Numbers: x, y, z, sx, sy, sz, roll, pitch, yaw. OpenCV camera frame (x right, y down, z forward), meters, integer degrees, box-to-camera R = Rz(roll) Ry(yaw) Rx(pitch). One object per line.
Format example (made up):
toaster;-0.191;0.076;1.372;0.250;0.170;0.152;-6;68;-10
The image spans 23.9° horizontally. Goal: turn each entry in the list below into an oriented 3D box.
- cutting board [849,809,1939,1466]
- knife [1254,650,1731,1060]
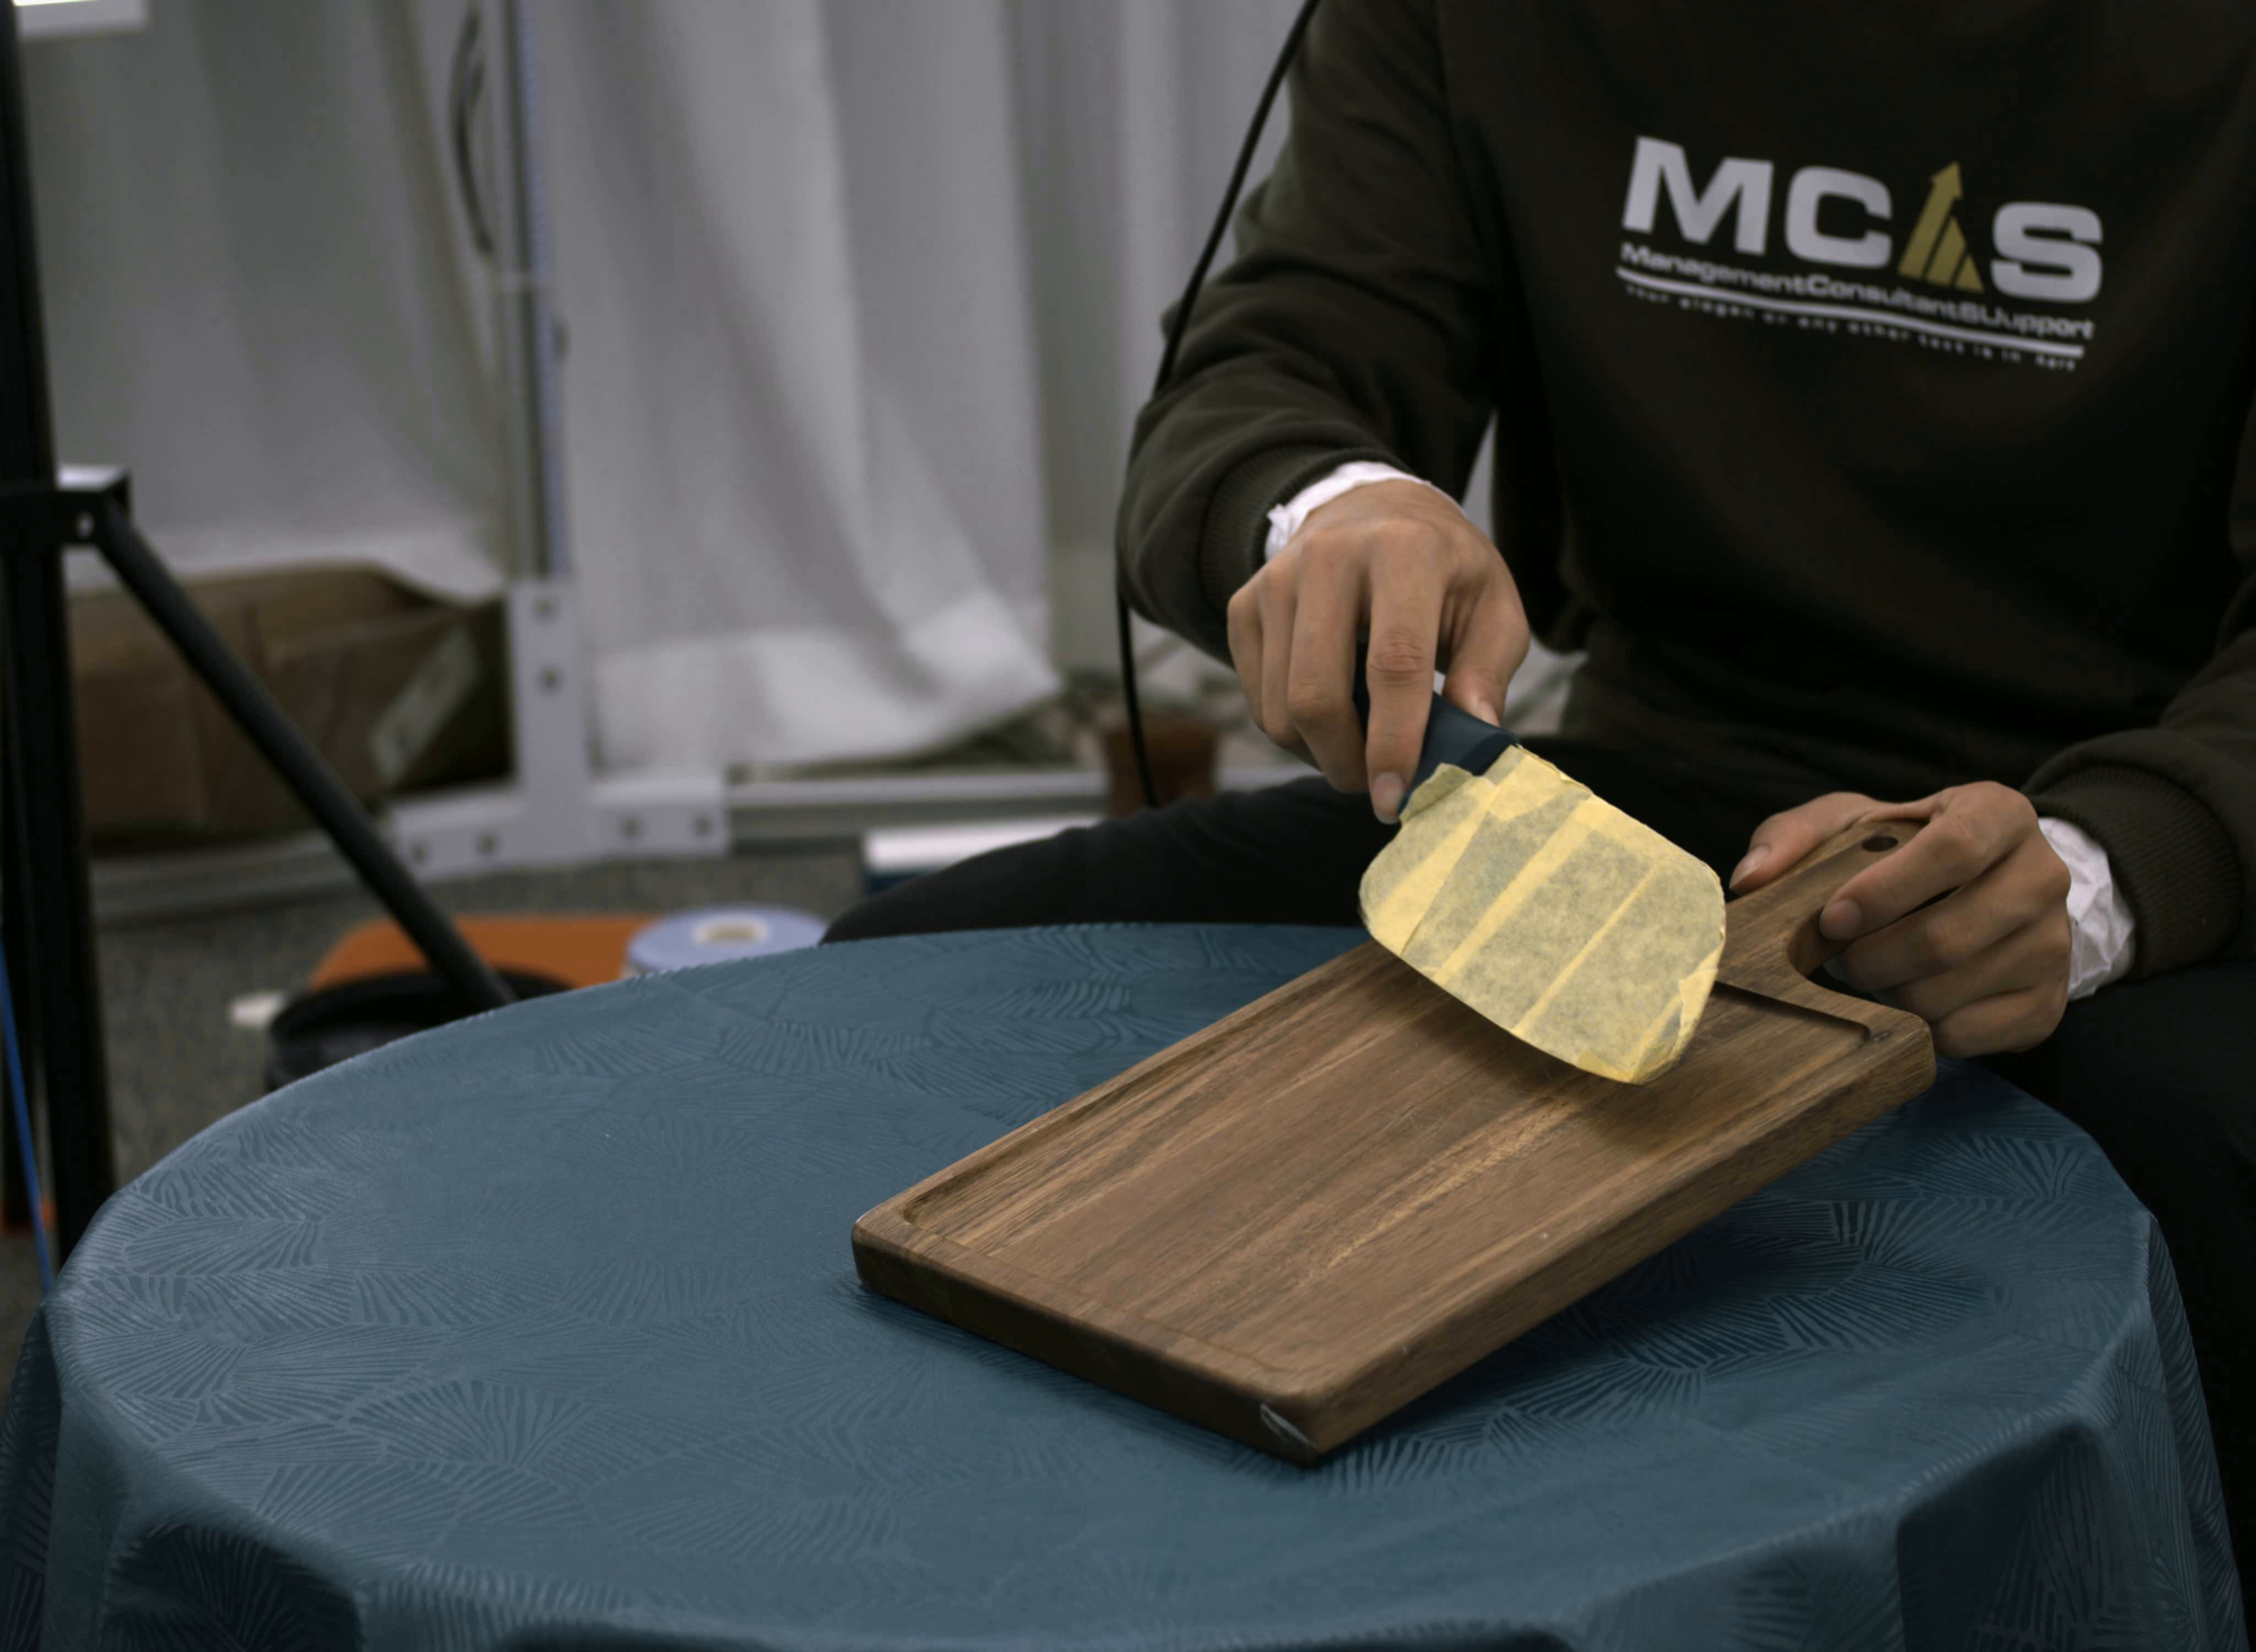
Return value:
cutting board;0.111;0.073;1.510;0.346;0.023;0.206;-27;27;-32
knife;0.098;0.006;1.572;0.081;0.027;0.295;-45;30;-2
